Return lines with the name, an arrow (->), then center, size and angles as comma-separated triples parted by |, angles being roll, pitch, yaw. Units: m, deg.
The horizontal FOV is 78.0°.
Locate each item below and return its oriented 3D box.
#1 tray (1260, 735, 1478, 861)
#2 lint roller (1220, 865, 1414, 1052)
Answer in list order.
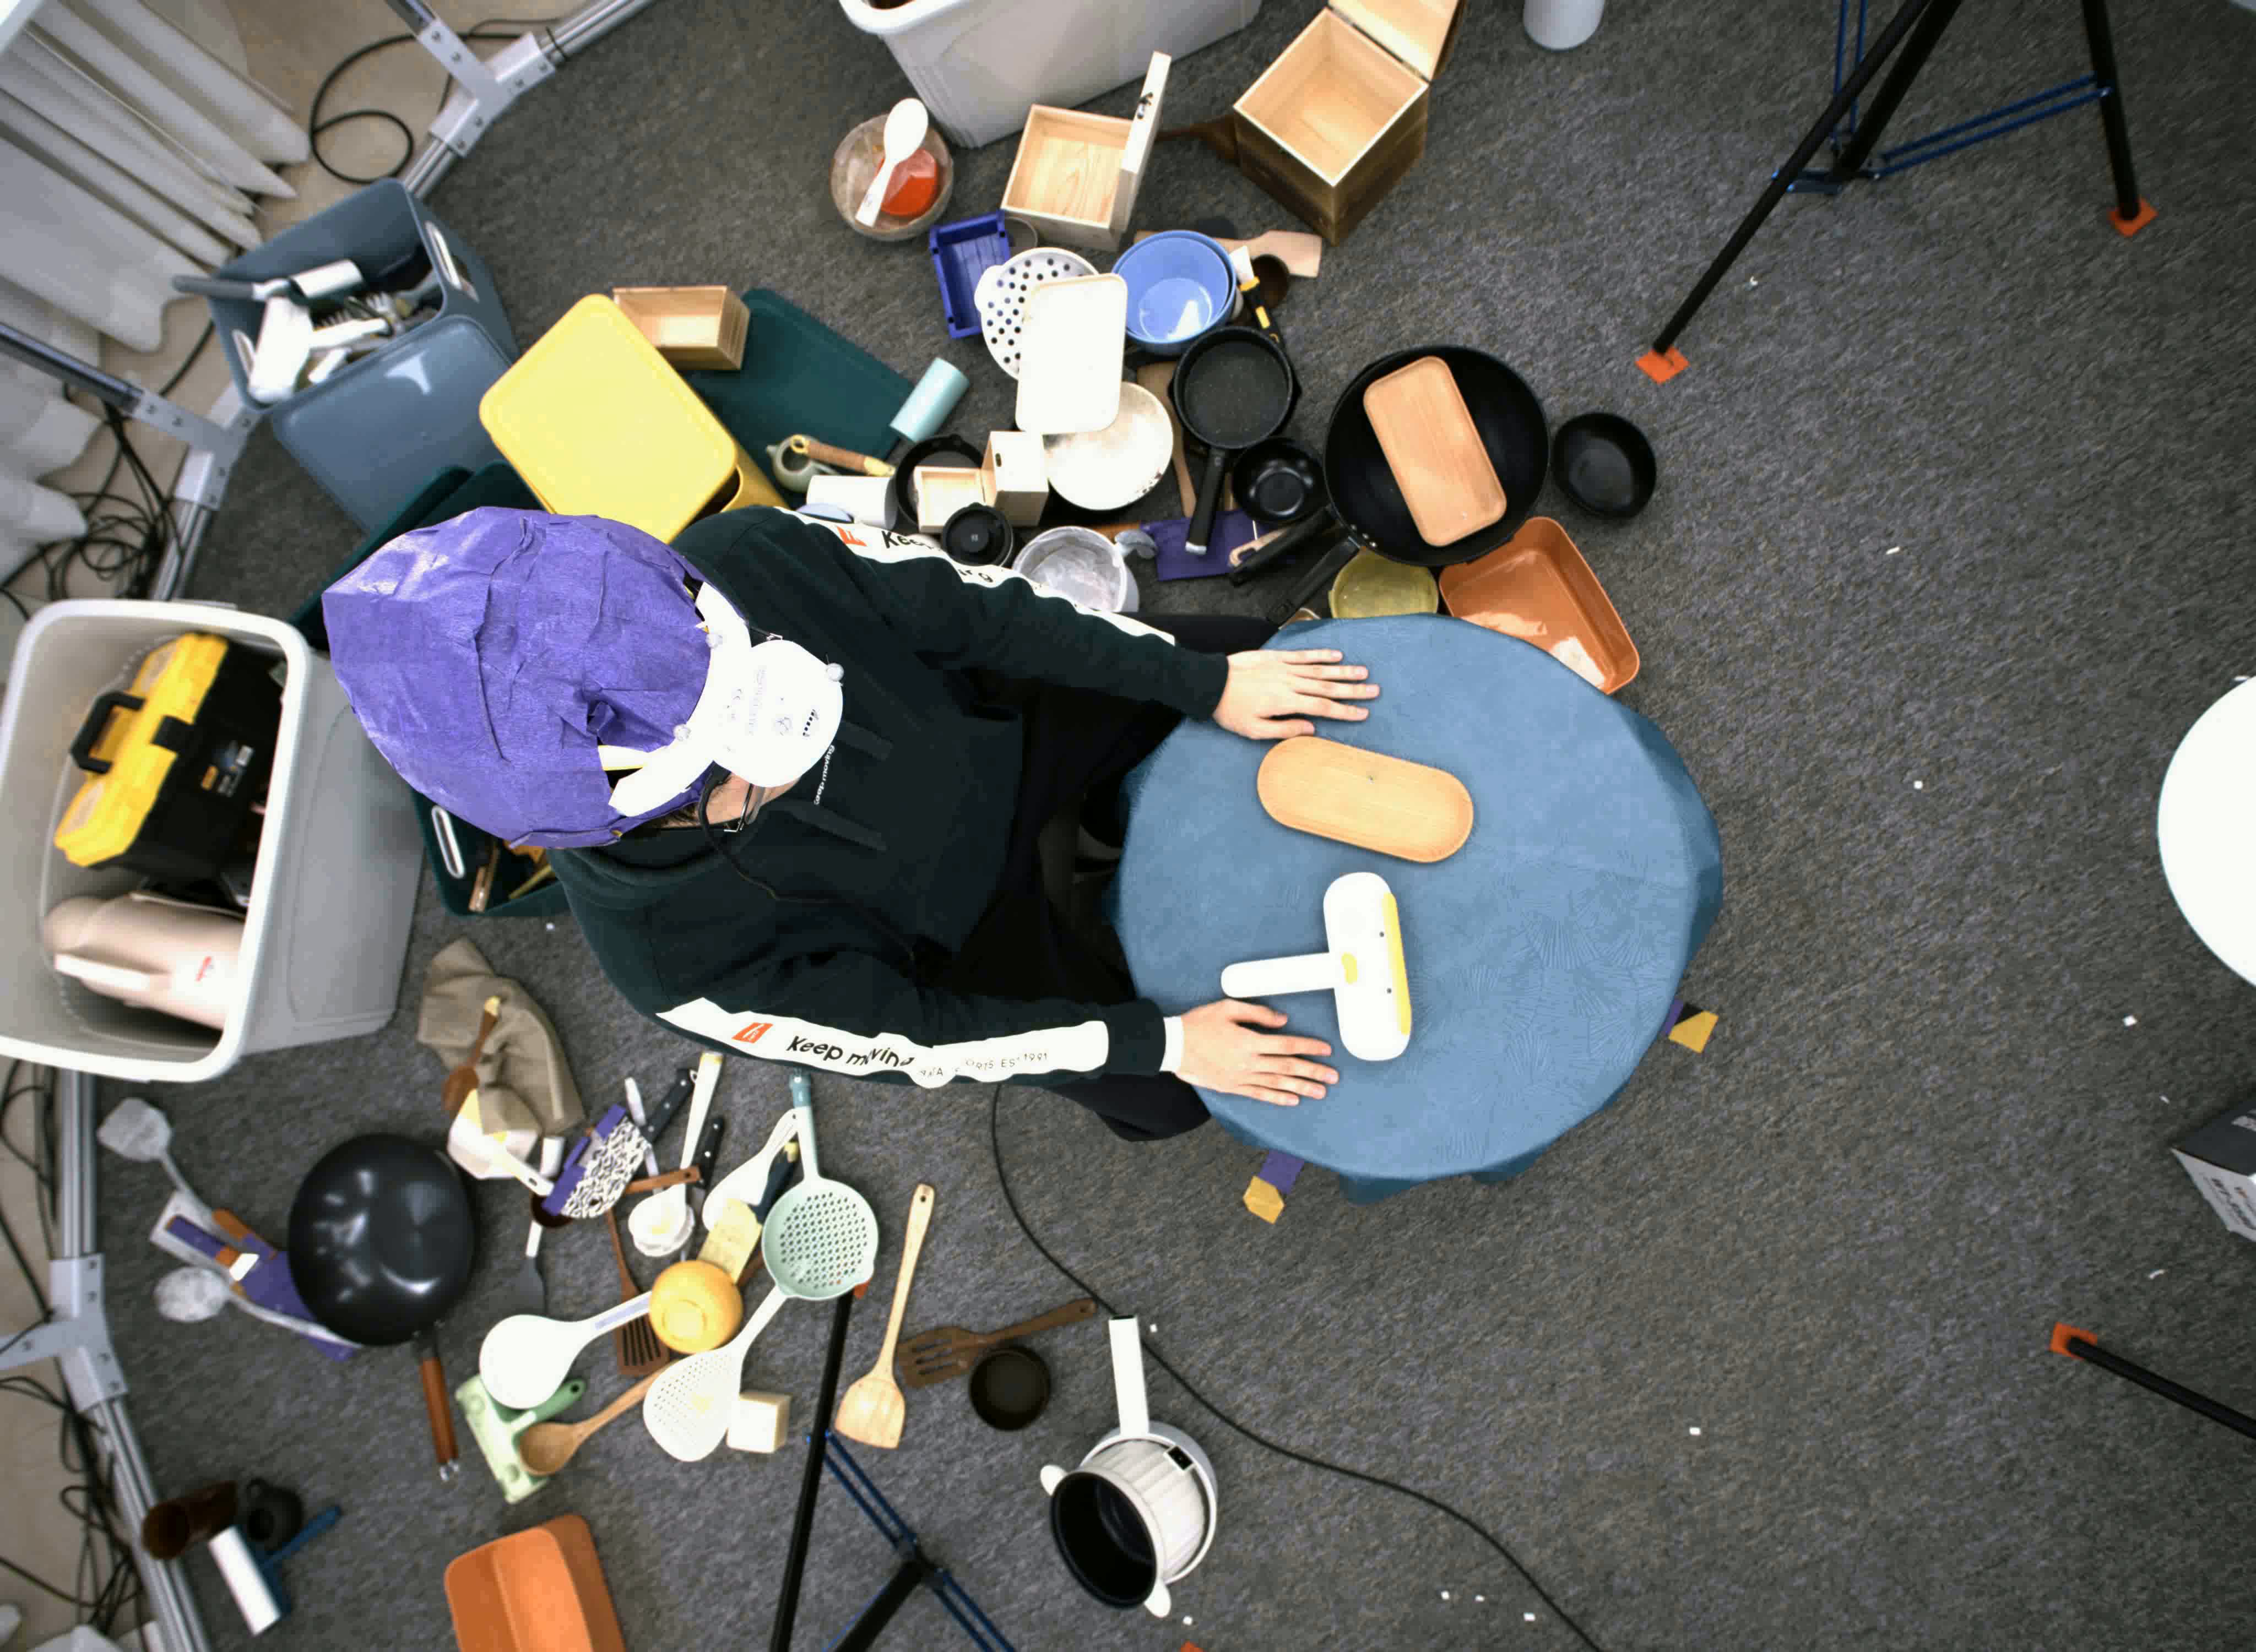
tray -> 0.253, -0.031, 1.455 | 0.231, 0.020, 0.101 | 15, 91, 10
lint roller -> 0.190, 0.148, 1.442 | 0.195, 0.073, 0.193 | -13, 91, 28
